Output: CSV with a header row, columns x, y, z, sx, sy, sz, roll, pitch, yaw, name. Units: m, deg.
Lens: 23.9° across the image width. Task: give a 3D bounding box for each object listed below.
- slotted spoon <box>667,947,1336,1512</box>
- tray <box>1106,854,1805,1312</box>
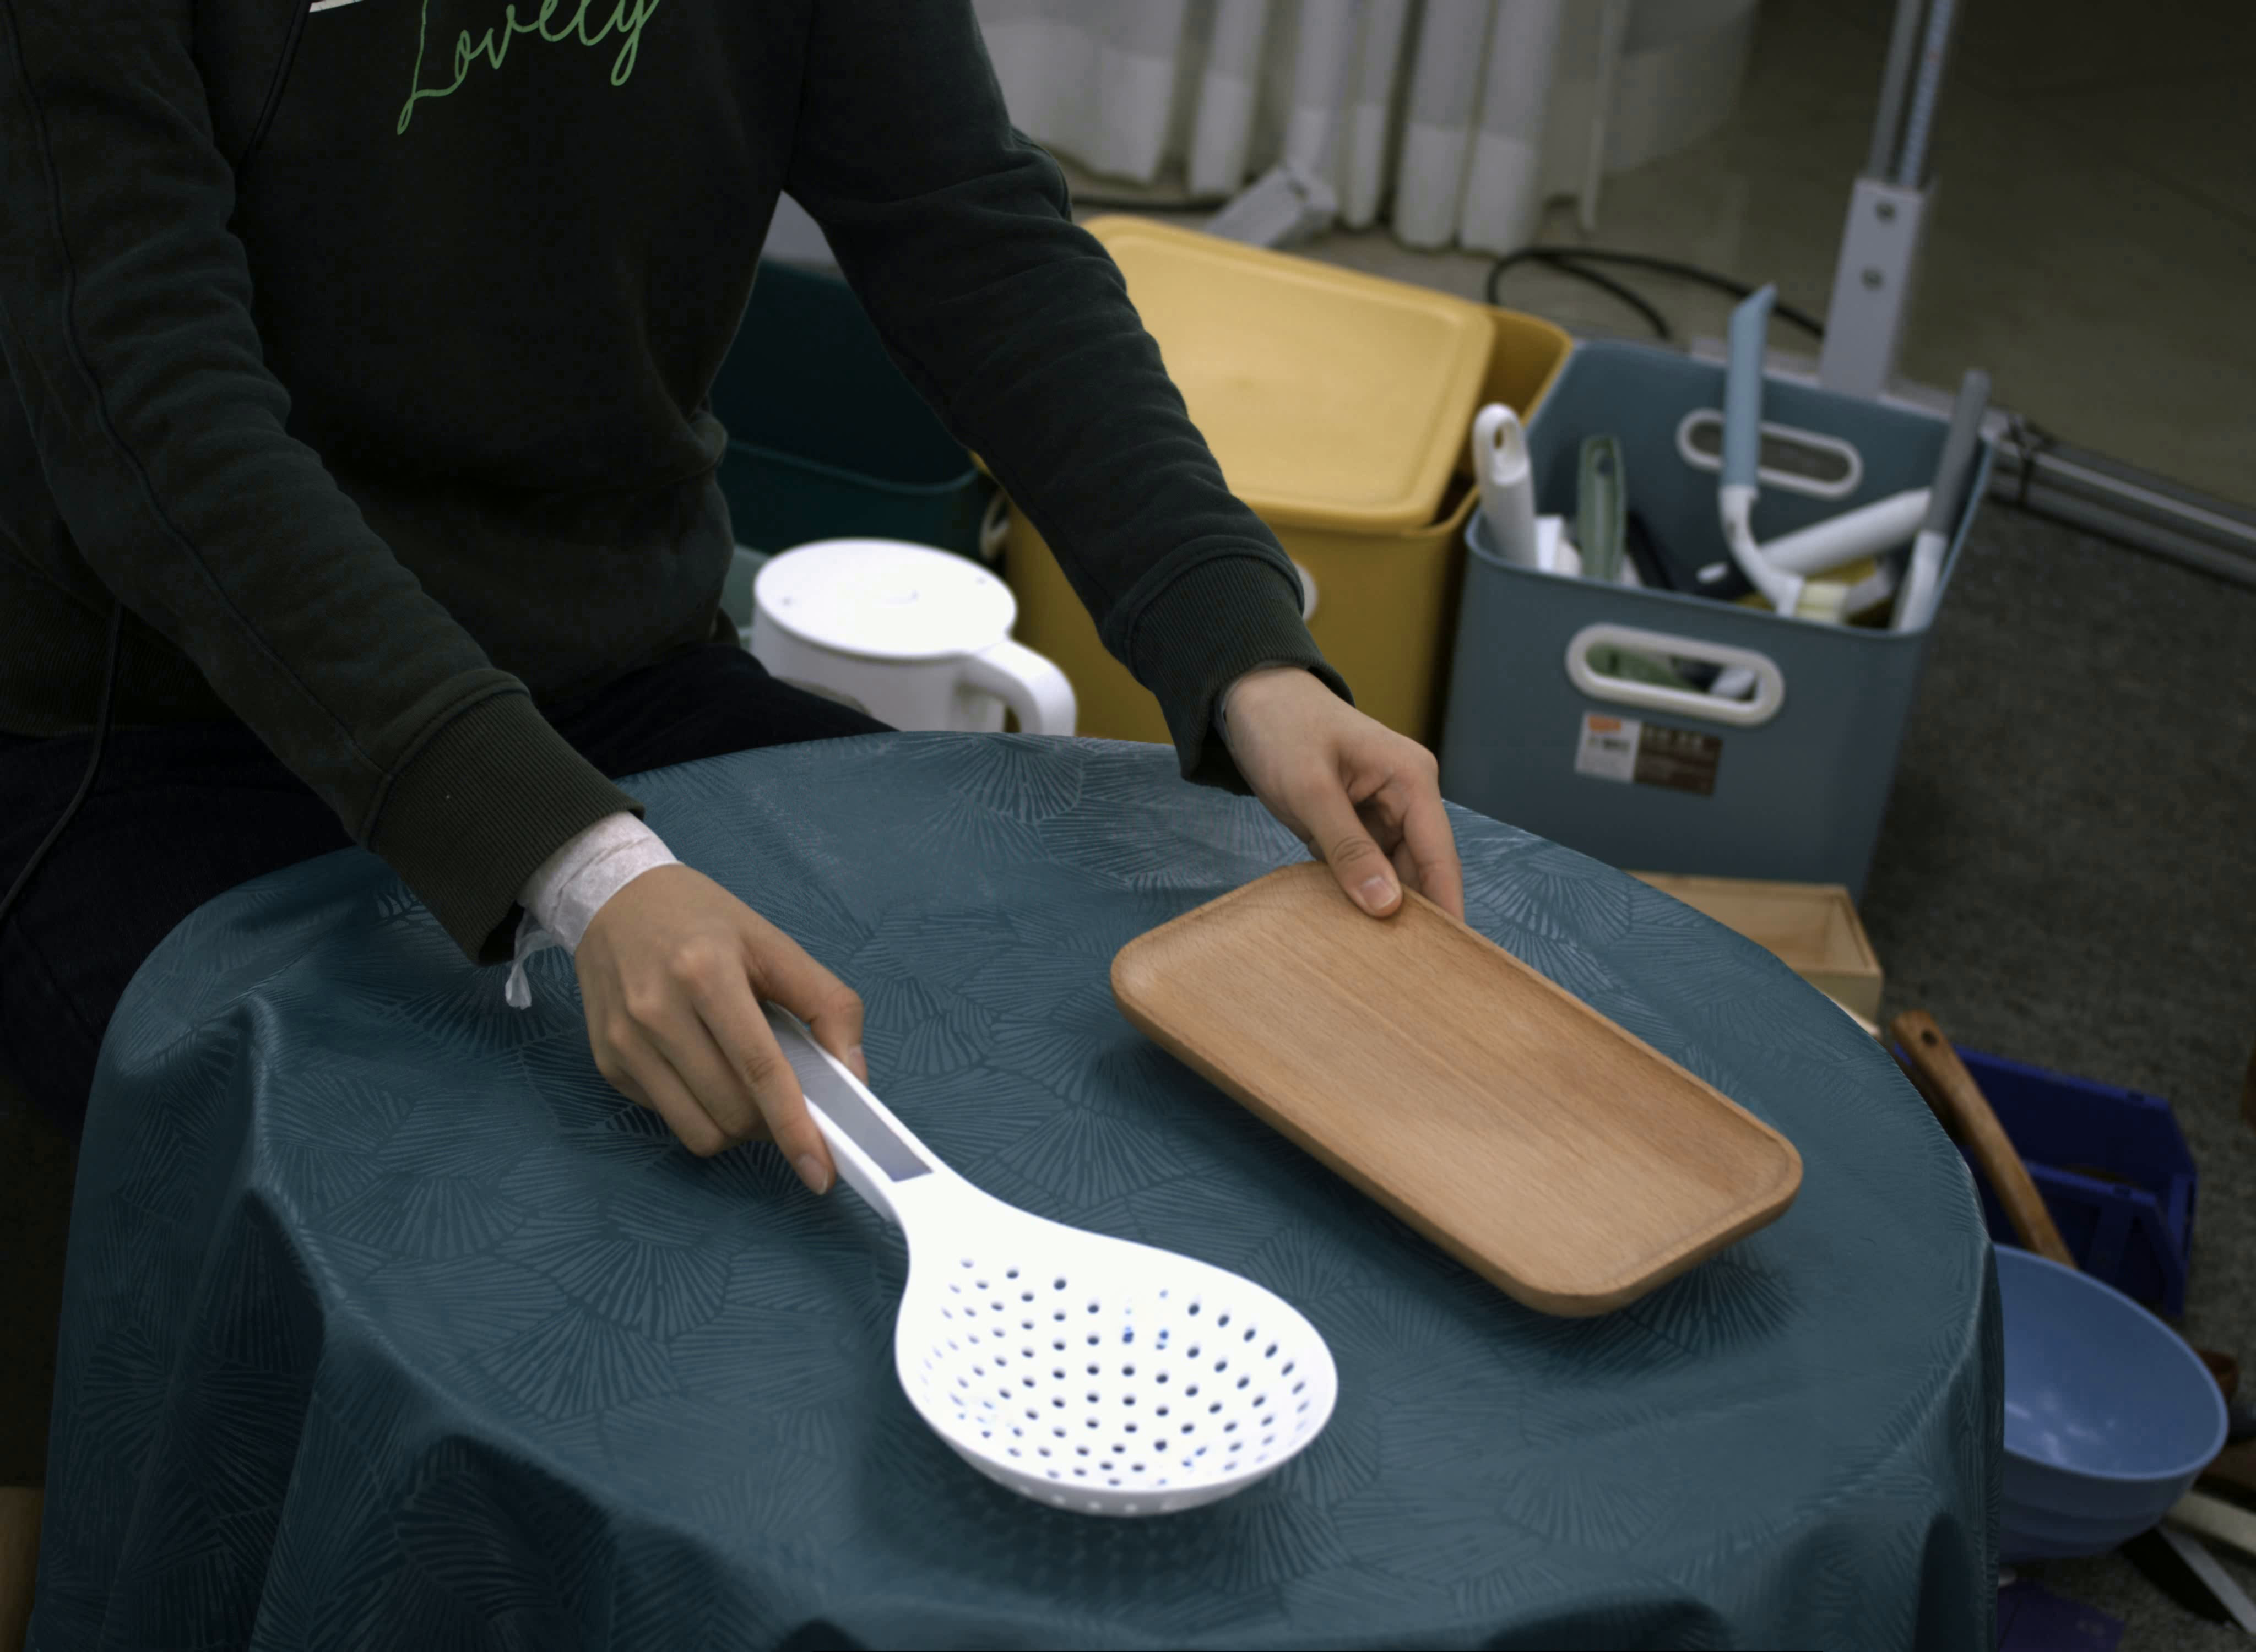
x,y,z,sx,sy,sz,roll,pitch,yaw,name
-0.060,0.124,1.713,0.135,0.045,0.353,-11,35,-30,slotted spoon
0.110,0.086,1.832,0.130,0.023,0.253,-22,39,-34,tray
